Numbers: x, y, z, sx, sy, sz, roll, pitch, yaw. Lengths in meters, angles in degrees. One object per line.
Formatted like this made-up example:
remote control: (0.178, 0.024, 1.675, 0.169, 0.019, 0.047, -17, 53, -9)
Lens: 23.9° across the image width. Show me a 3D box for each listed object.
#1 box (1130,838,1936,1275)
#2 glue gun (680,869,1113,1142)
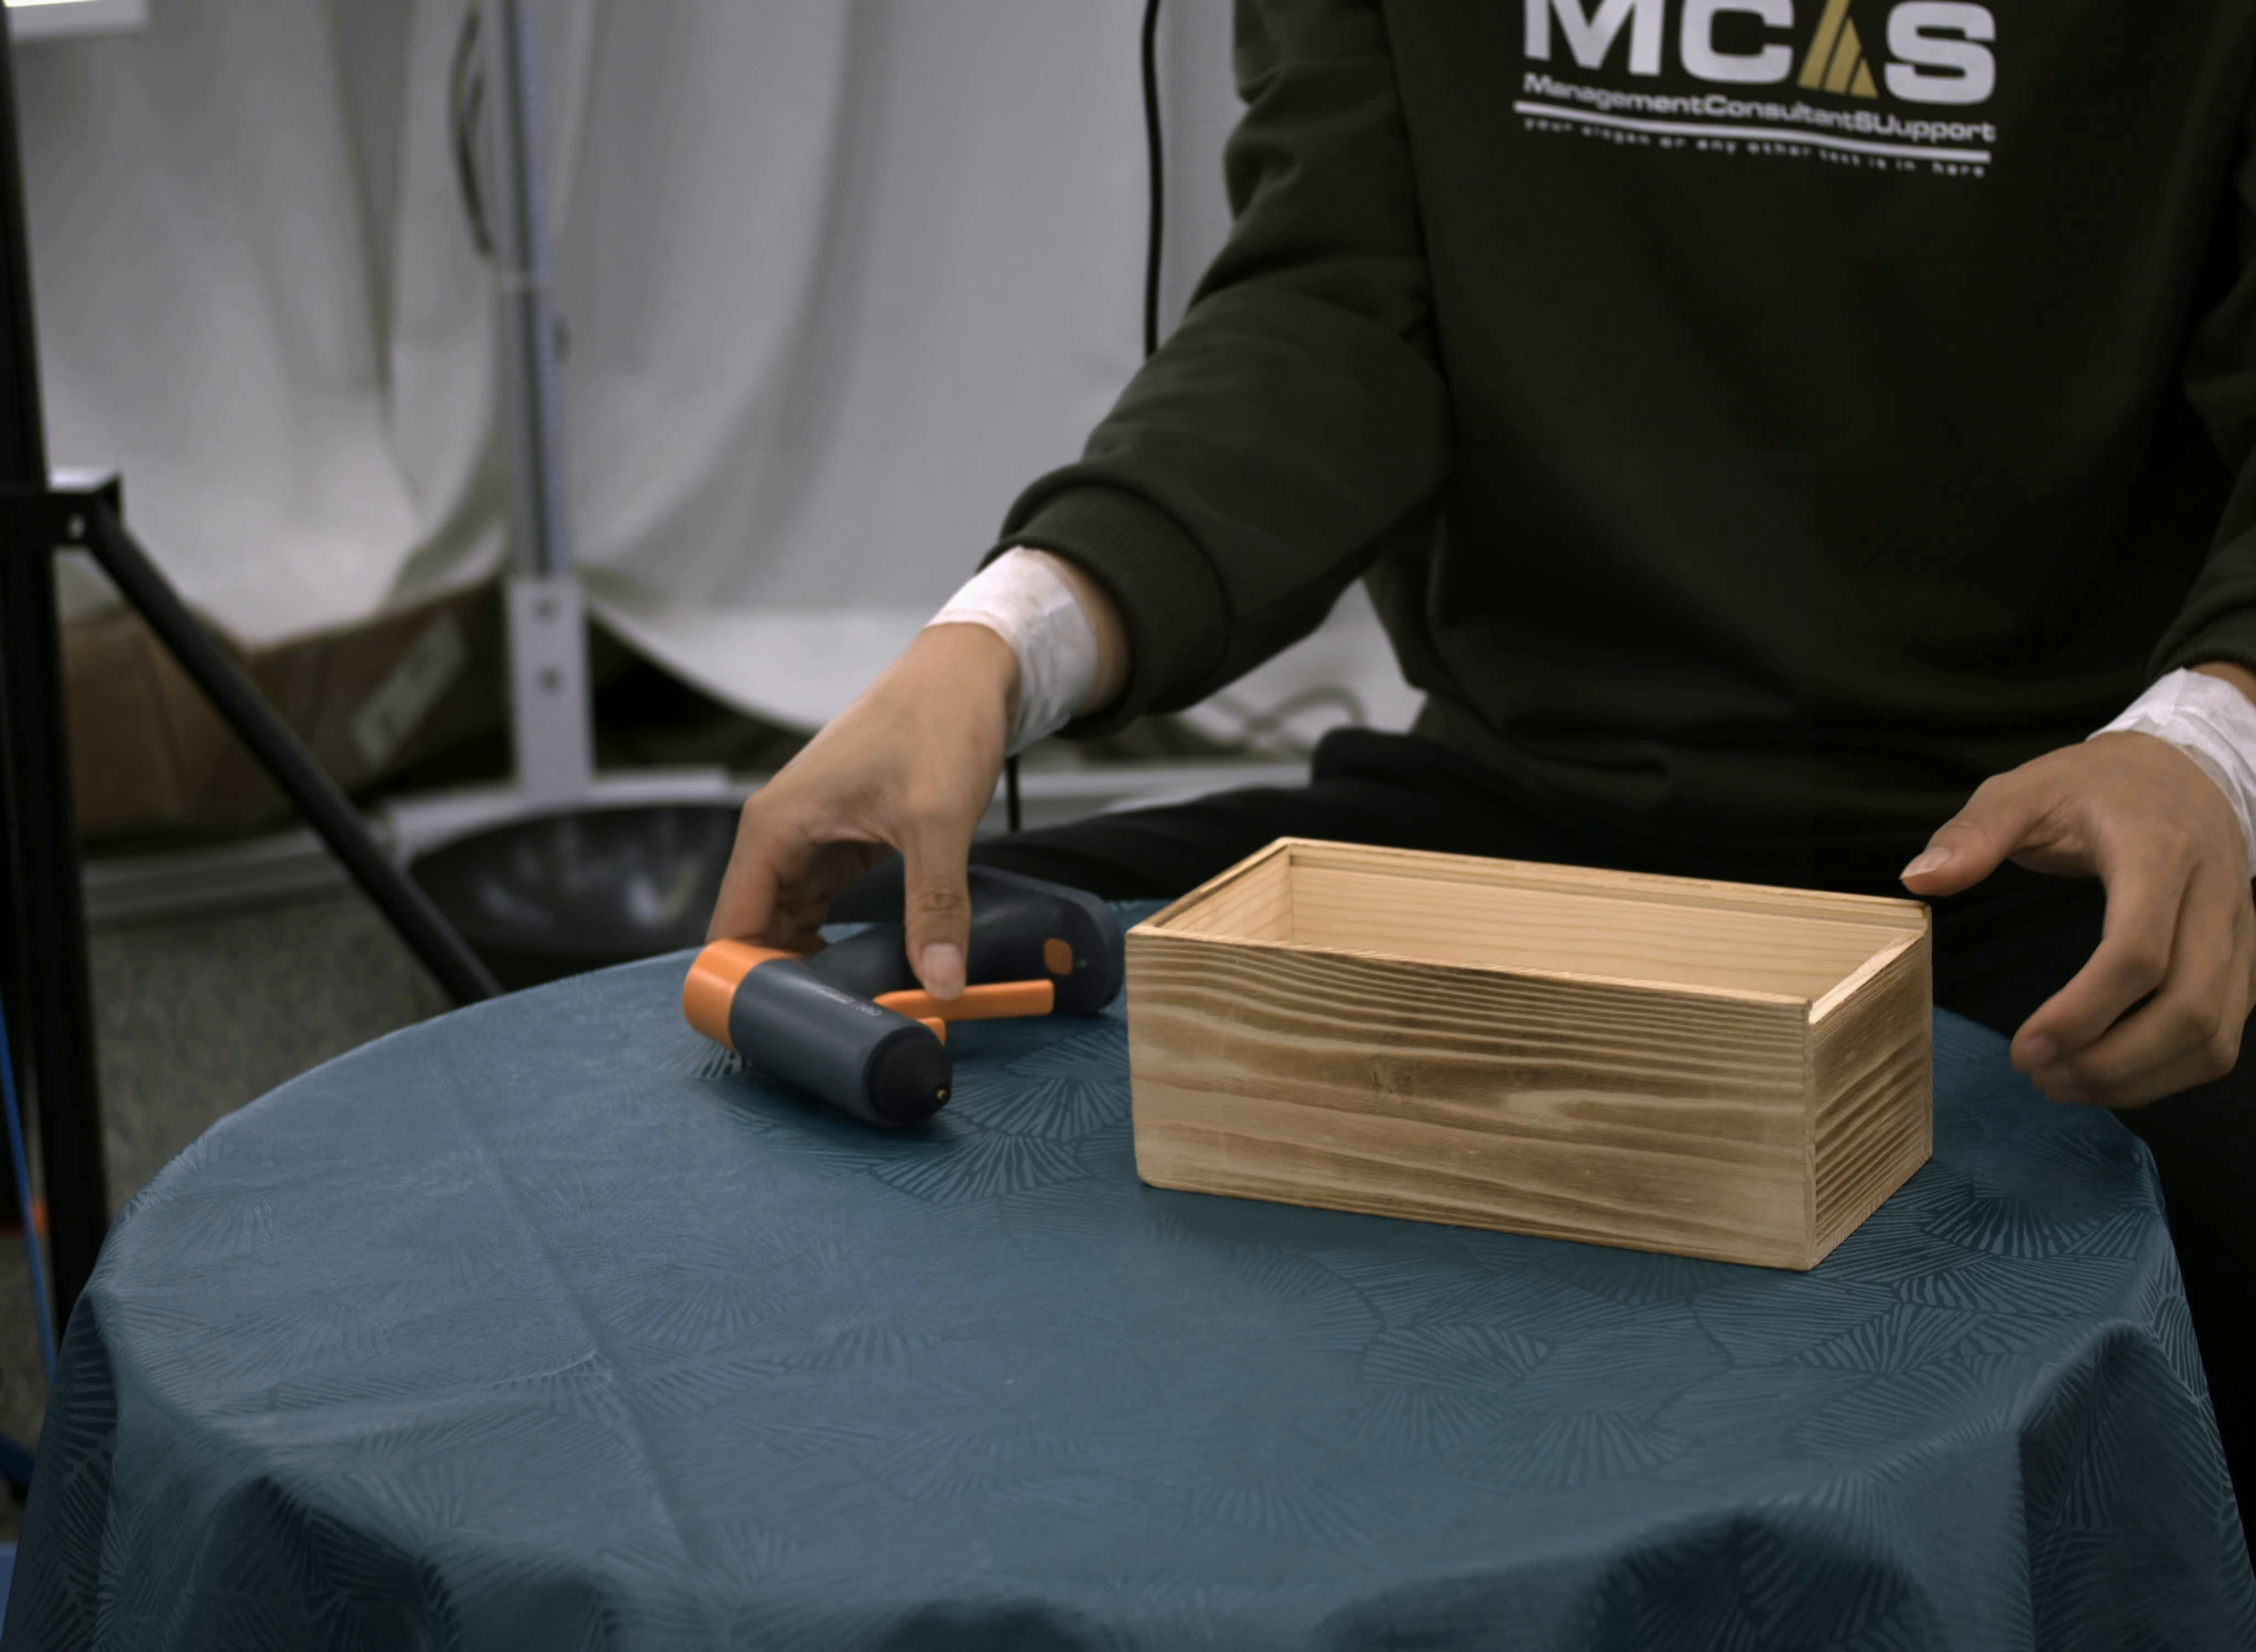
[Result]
box: (0.118, 0.065, 1.546, 0.215, 0.080, 0.105, 6, 16, 28)
glue gun: (-0.068, 0.058, 1.684, 0.120, 0.041, 0.137, 16, 24, 33)
